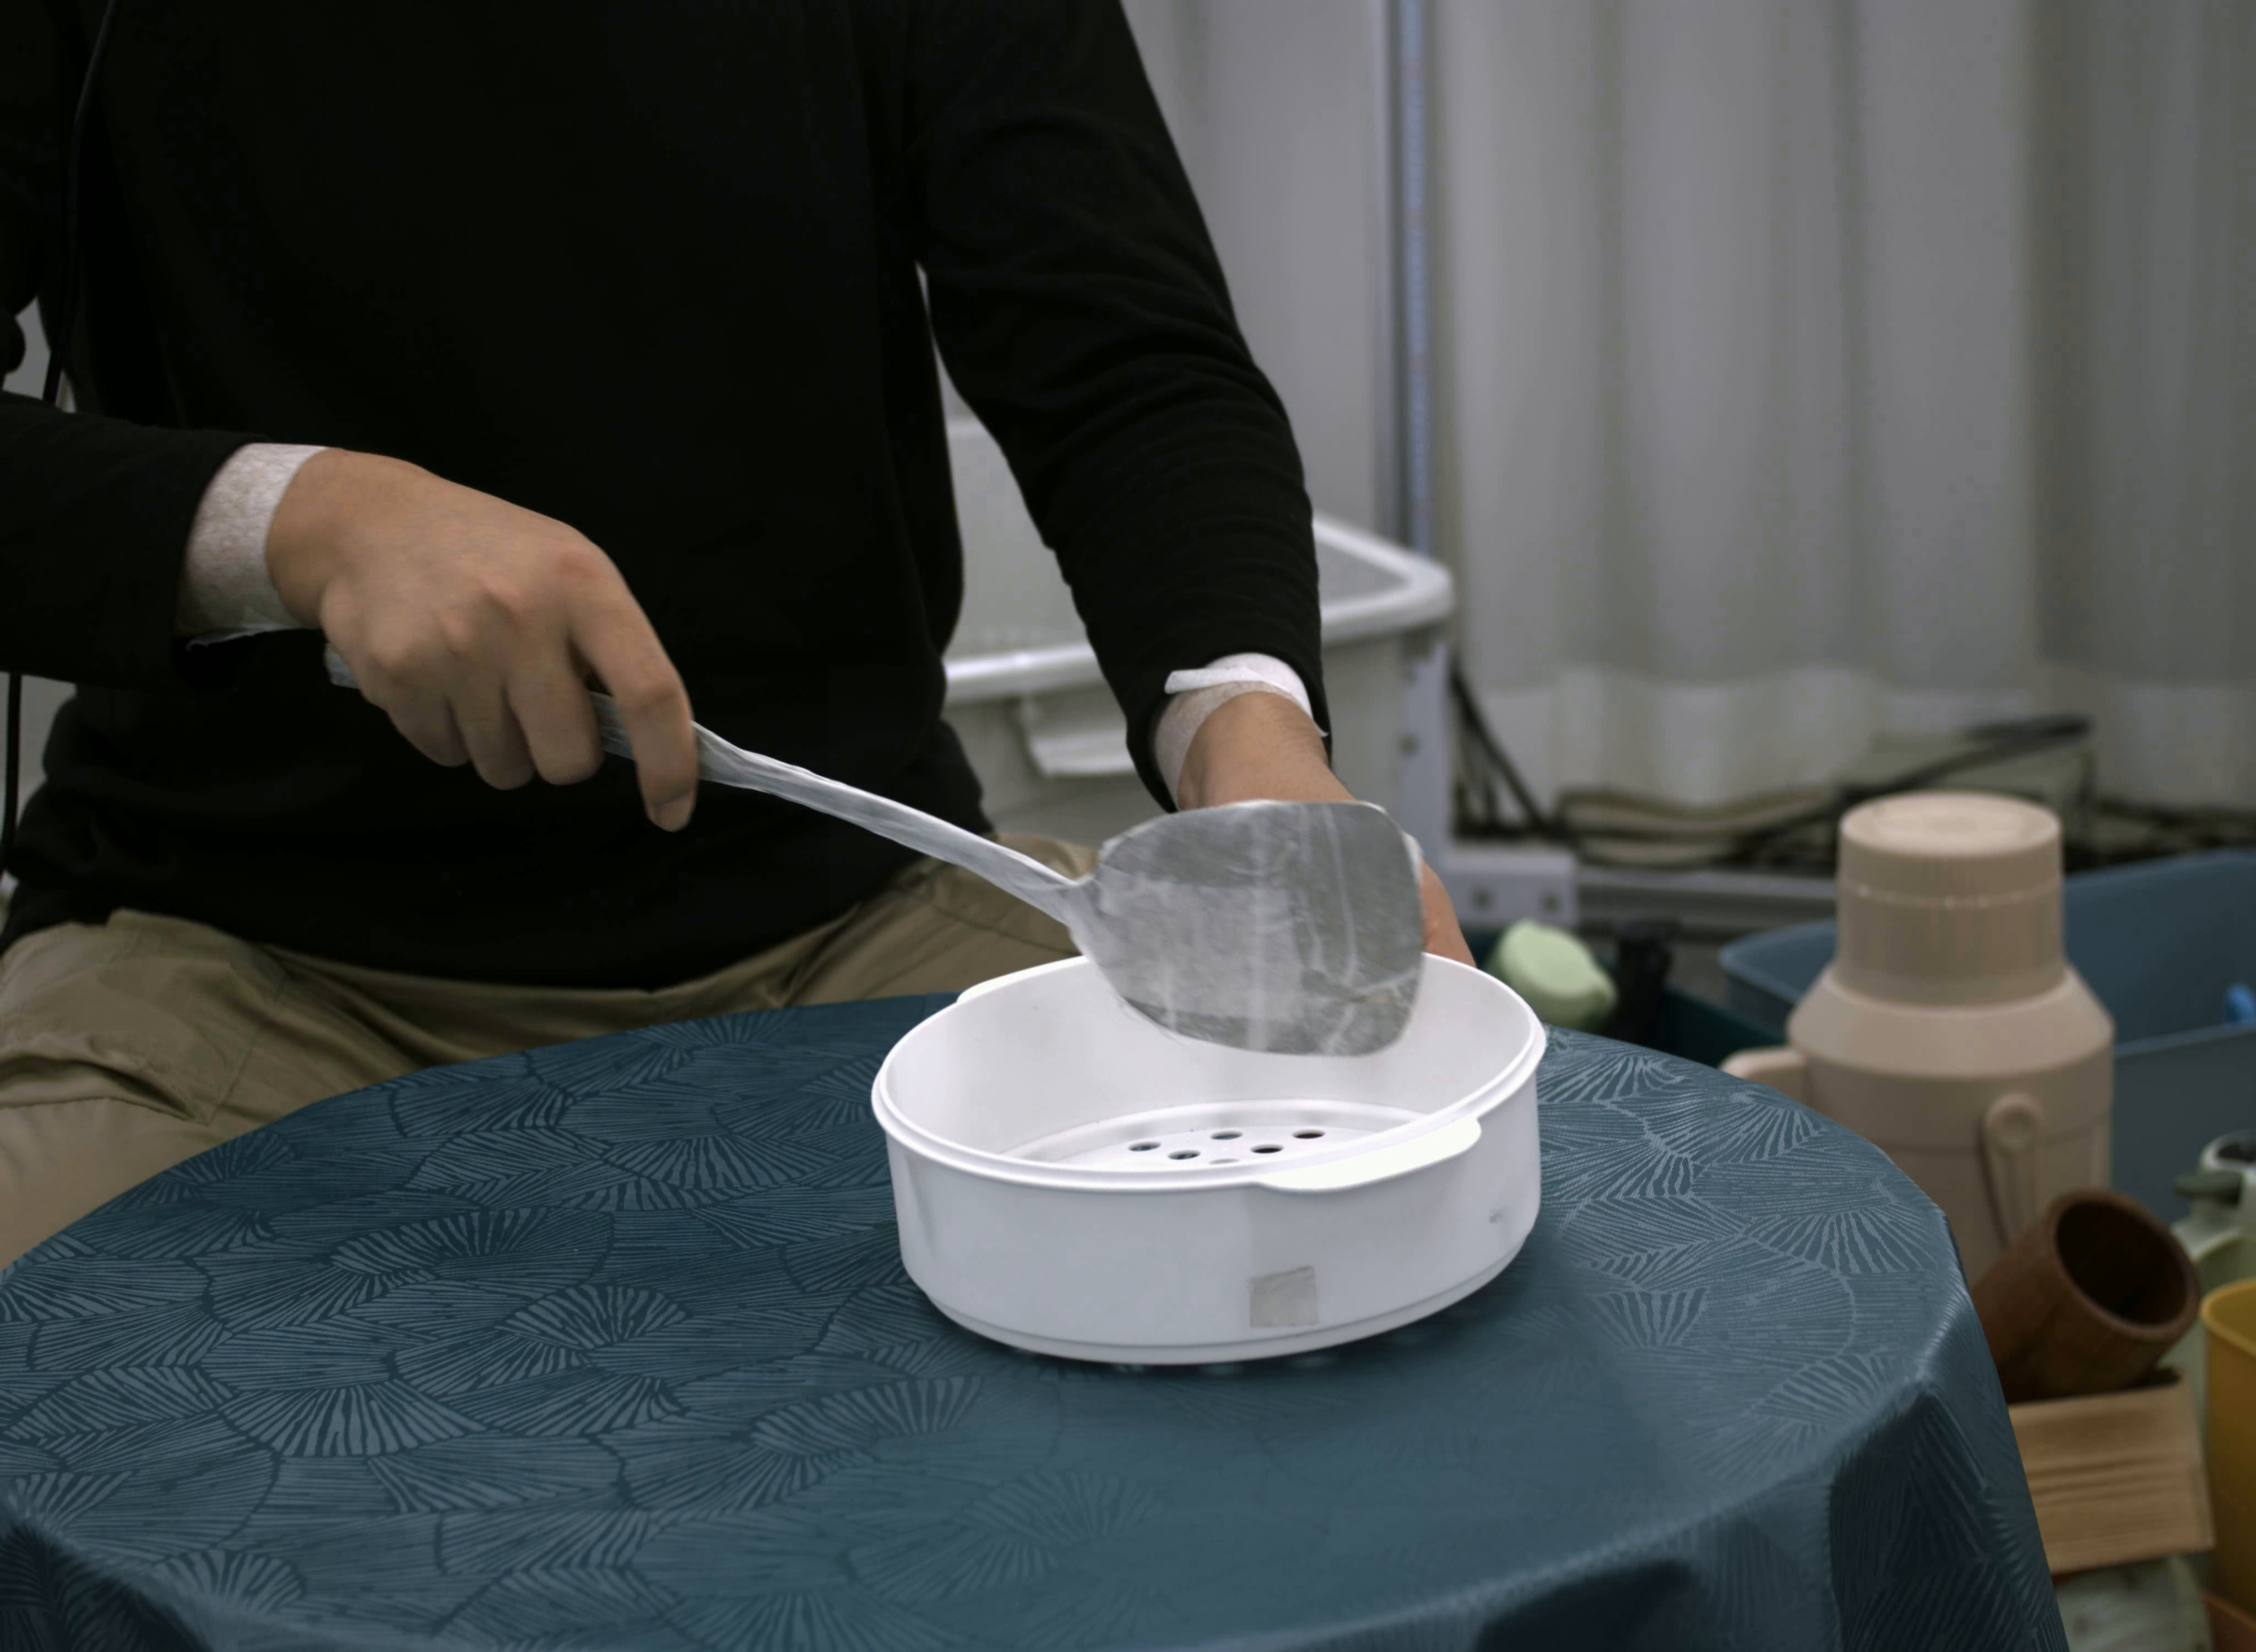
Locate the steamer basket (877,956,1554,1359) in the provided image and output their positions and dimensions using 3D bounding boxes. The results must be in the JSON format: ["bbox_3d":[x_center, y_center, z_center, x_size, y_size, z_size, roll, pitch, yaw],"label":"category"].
[{"bbox_3d":[0.028,0.097,1.624,0.201,0.069,0.232,-13,18,-25],"label":"steamer basket"}]

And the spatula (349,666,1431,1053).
[{"bbox_3d":[-0.080,-0.006,1.676,0.366,0.097,0.045,18,43,25],"label":"spatula"}]
